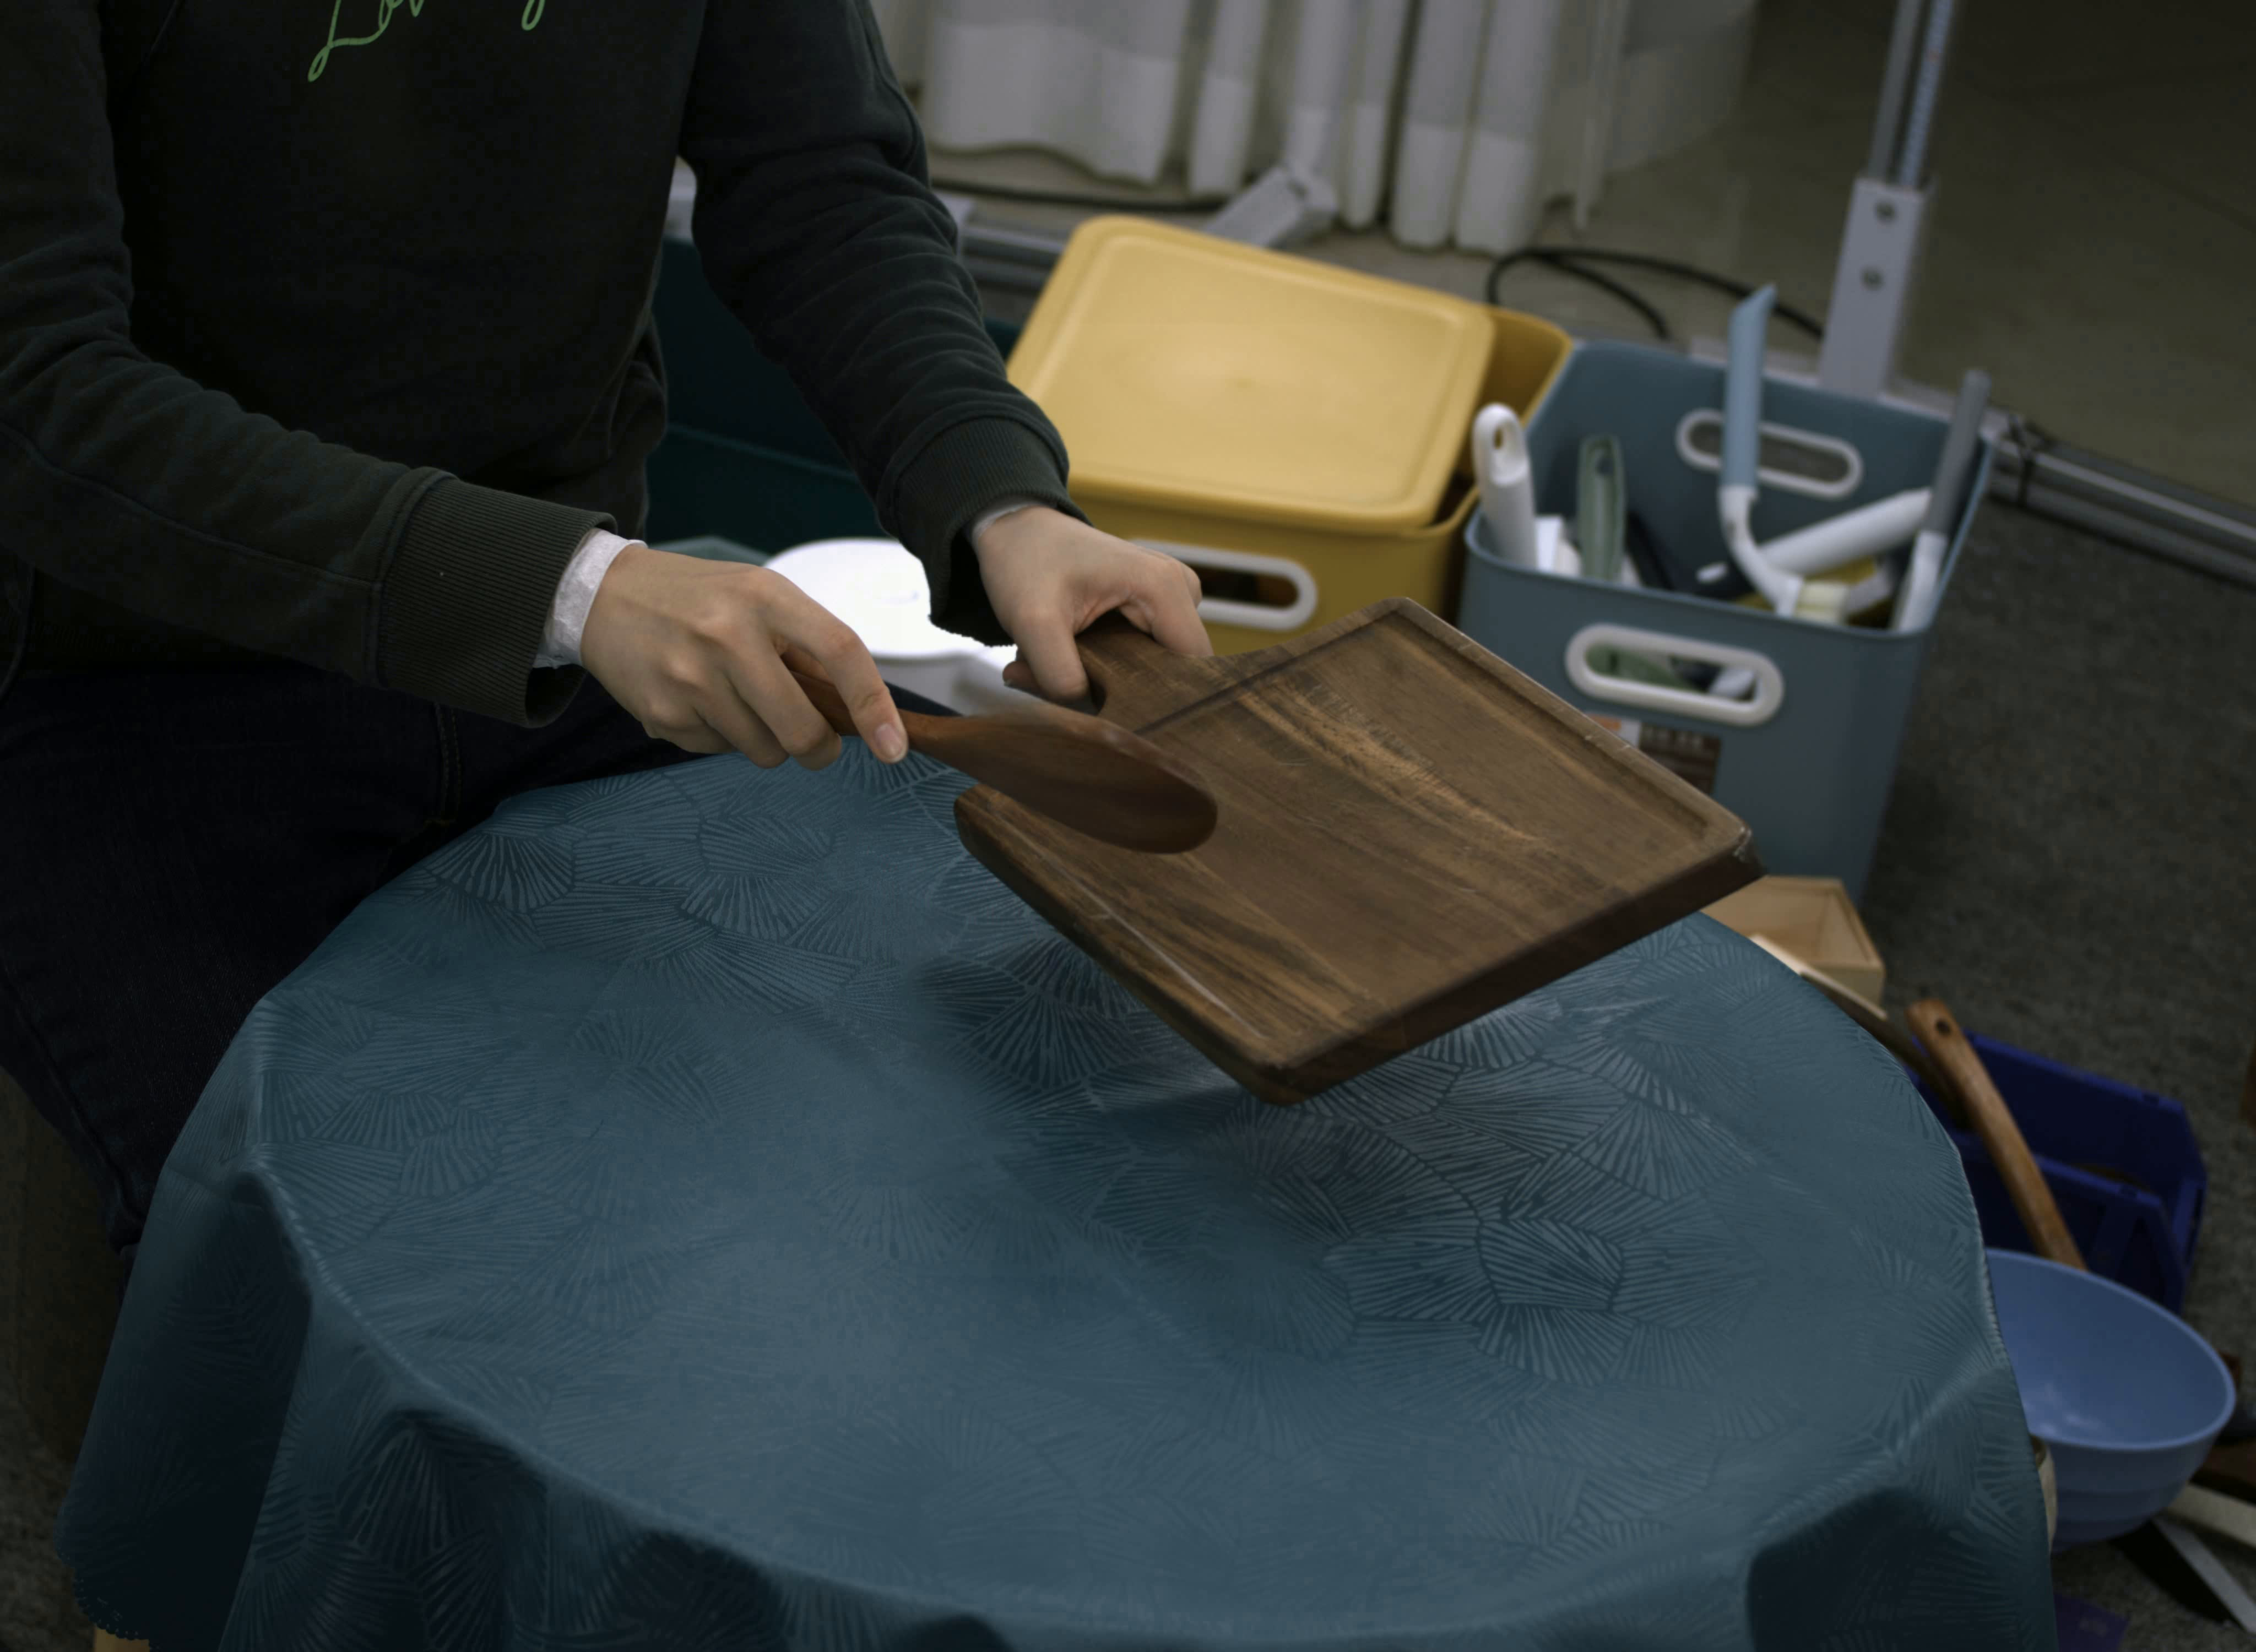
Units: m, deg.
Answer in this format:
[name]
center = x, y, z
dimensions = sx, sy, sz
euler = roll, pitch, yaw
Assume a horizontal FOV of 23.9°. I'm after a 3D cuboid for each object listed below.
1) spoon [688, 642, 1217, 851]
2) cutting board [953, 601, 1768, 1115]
[spoon]
center = -0.064, -0.029, 1.828
dimensions = 0.217, 0.075, 0.017
euler = 17, 67, 31
[cutting board]
center = 0.054, -0.012, 1.896
dimensions = 0.200, 0.023, 0.355
euler = -26, 30, -17
